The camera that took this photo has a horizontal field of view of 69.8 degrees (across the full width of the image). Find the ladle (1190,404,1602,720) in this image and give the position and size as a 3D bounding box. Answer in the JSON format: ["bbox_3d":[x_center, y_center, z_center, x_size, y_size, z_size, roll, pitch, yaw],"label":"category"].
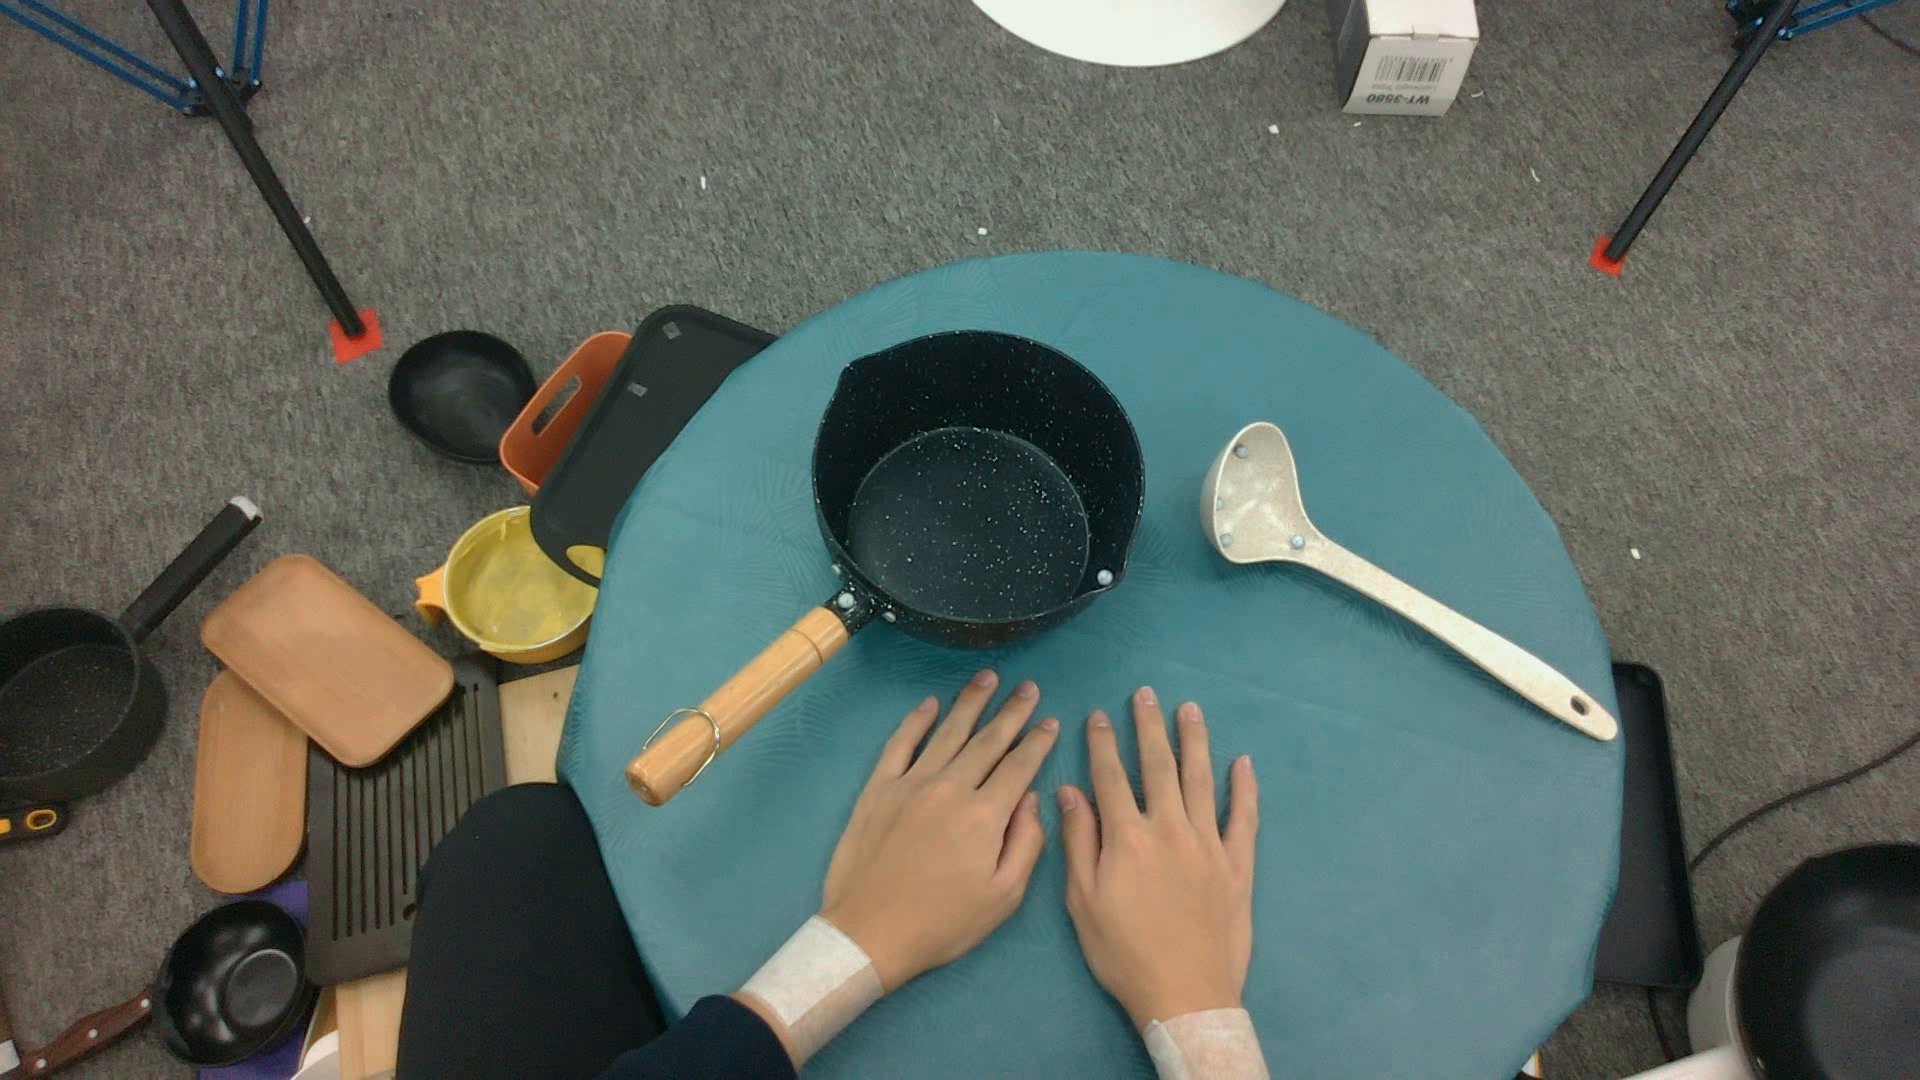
[{"bbox_3d":[0.257,0.020,0.791,0.275,0.069,0.089,32,75,8],"label":"ladle"}]

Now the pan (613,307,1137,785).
[{"bbox_3d":[-0.048,0.017,0.747,0.207,0.108,0.344,38,66,12],"label":"pan"}]
